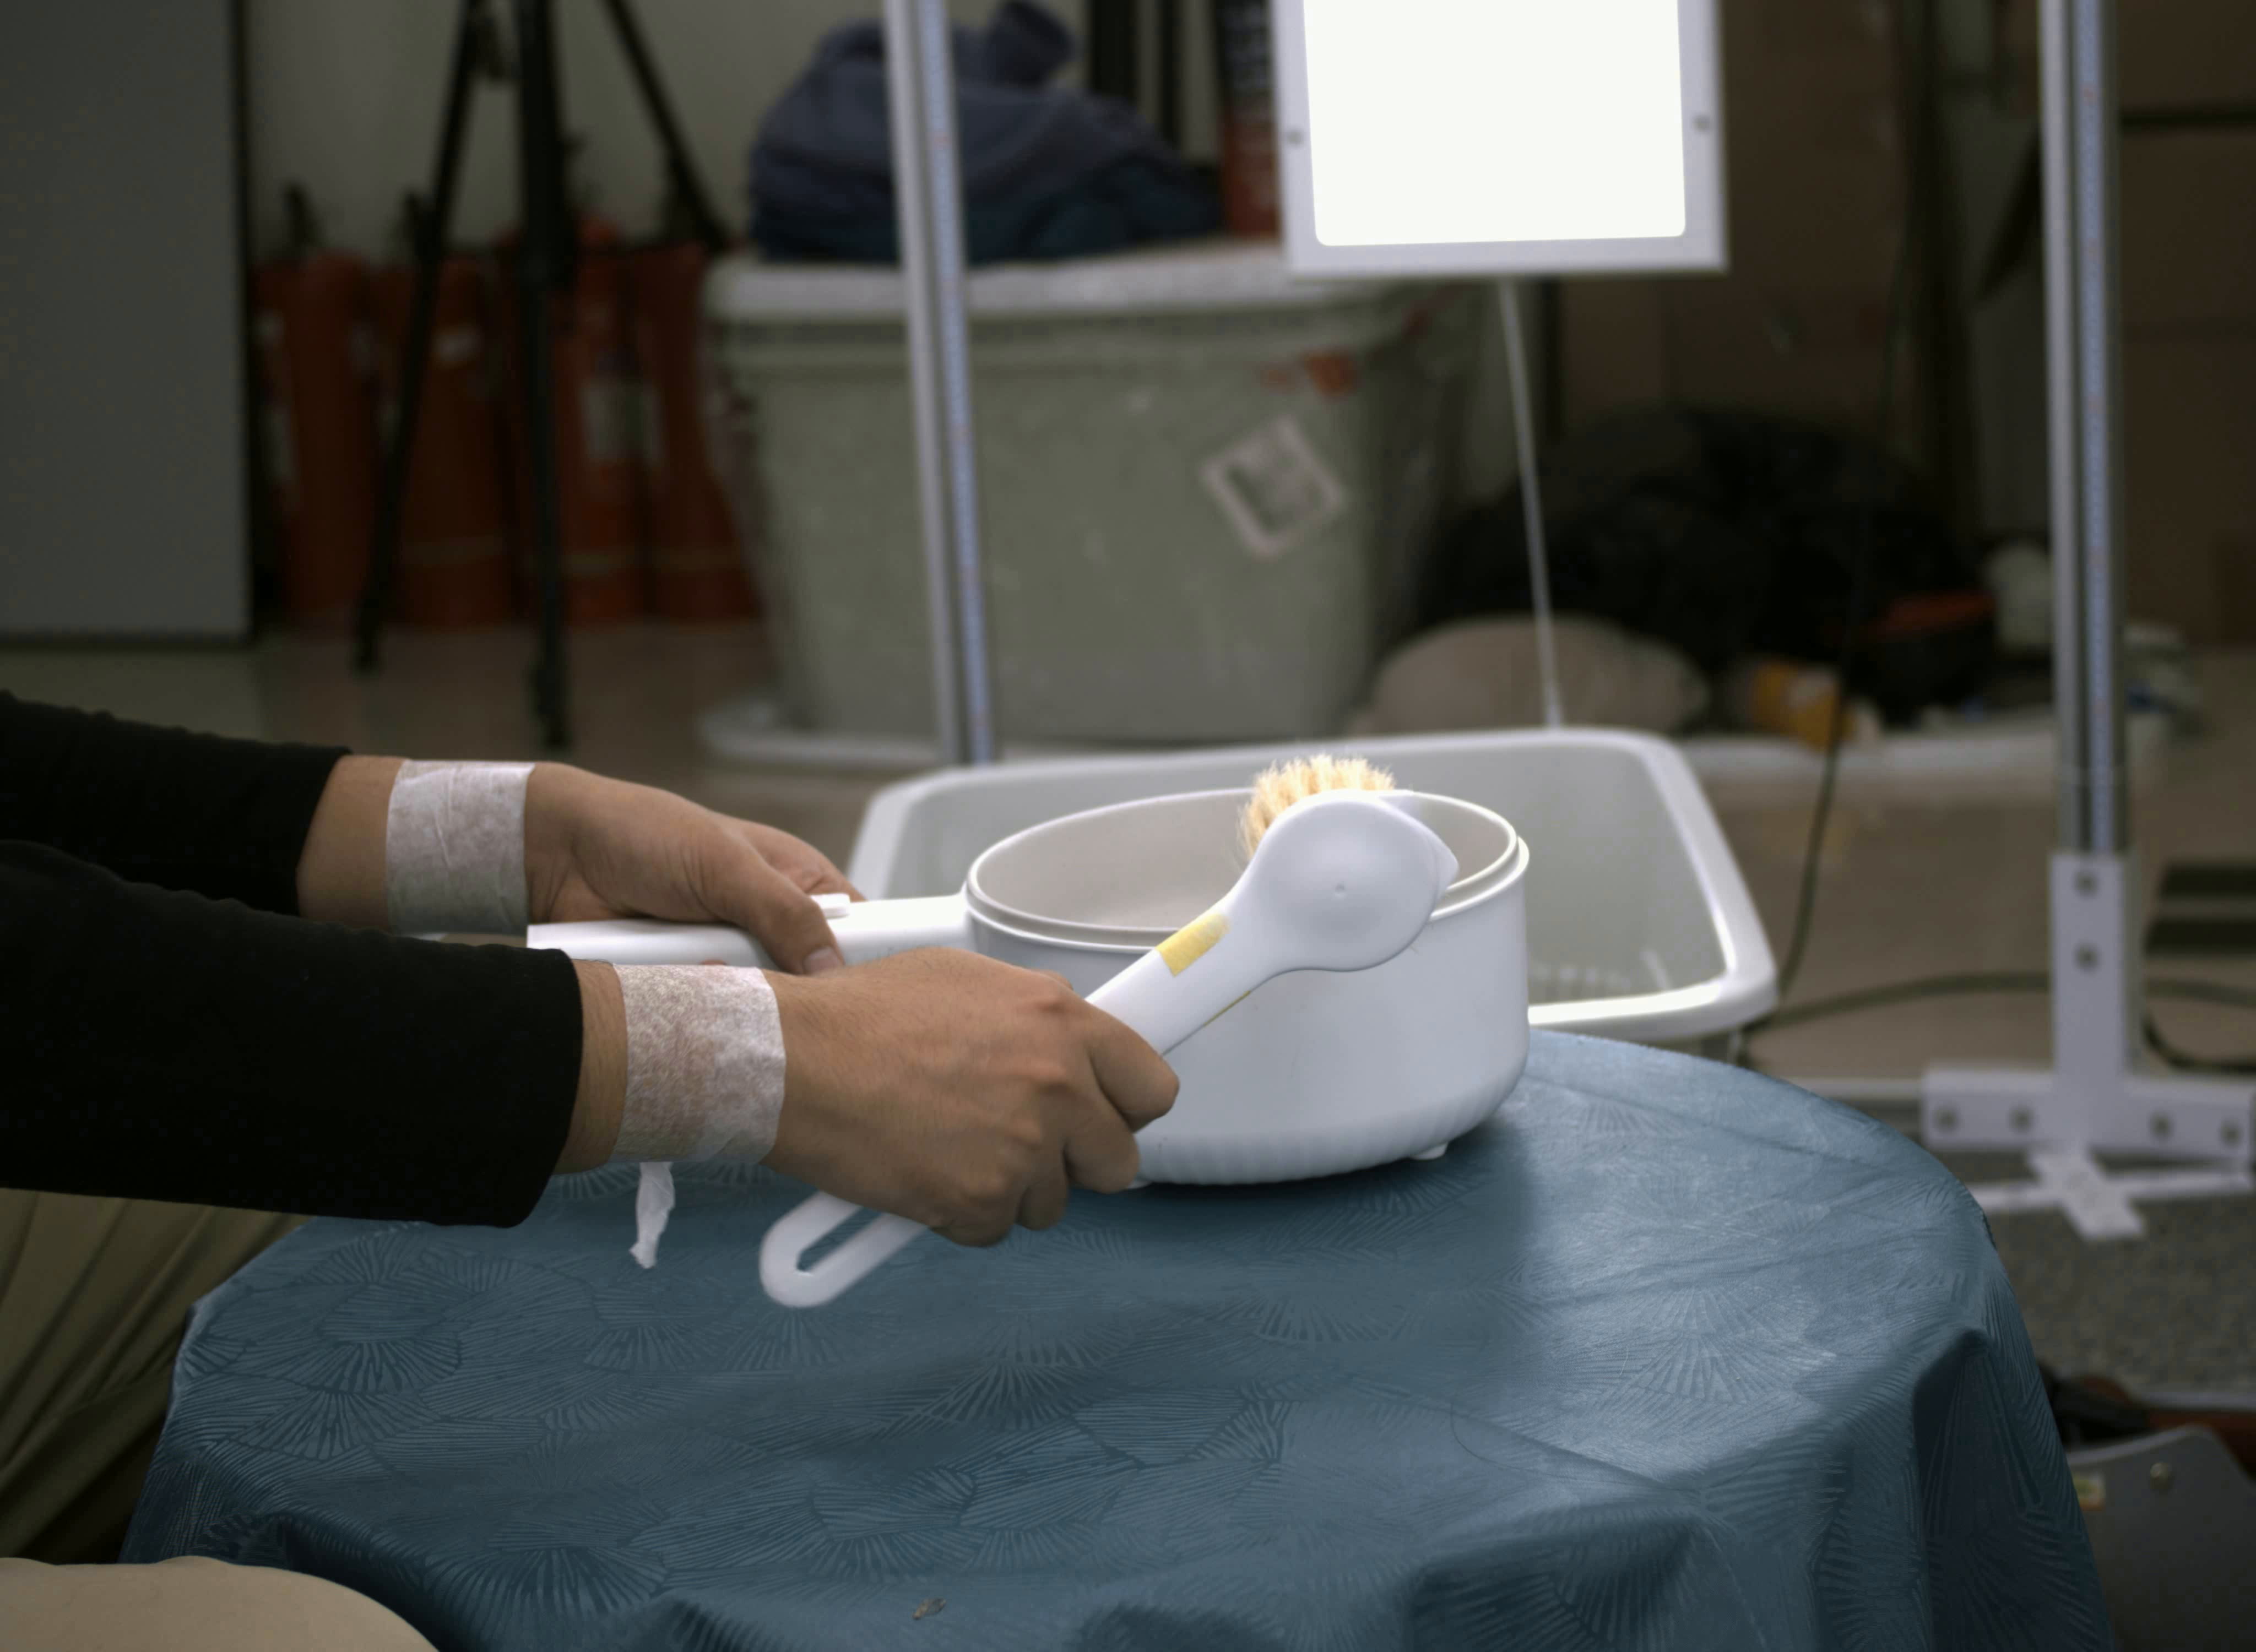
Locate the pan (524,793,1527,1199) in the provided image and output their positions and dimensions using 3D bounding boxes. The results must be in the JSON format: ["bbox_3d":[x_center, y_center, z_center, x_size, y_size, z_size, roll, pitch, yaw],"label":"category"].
[{"bbox_3d":[-0.033,0.069,1.945,0.353,0.102,0.201,-6,15,-1],"label":"pan"}]

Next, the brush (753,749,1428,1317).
[{"bbox_3d":[-0.015,0.066,1.735,0.264,0.068,0.057,-37,6,-11],"label":"brush"}]
